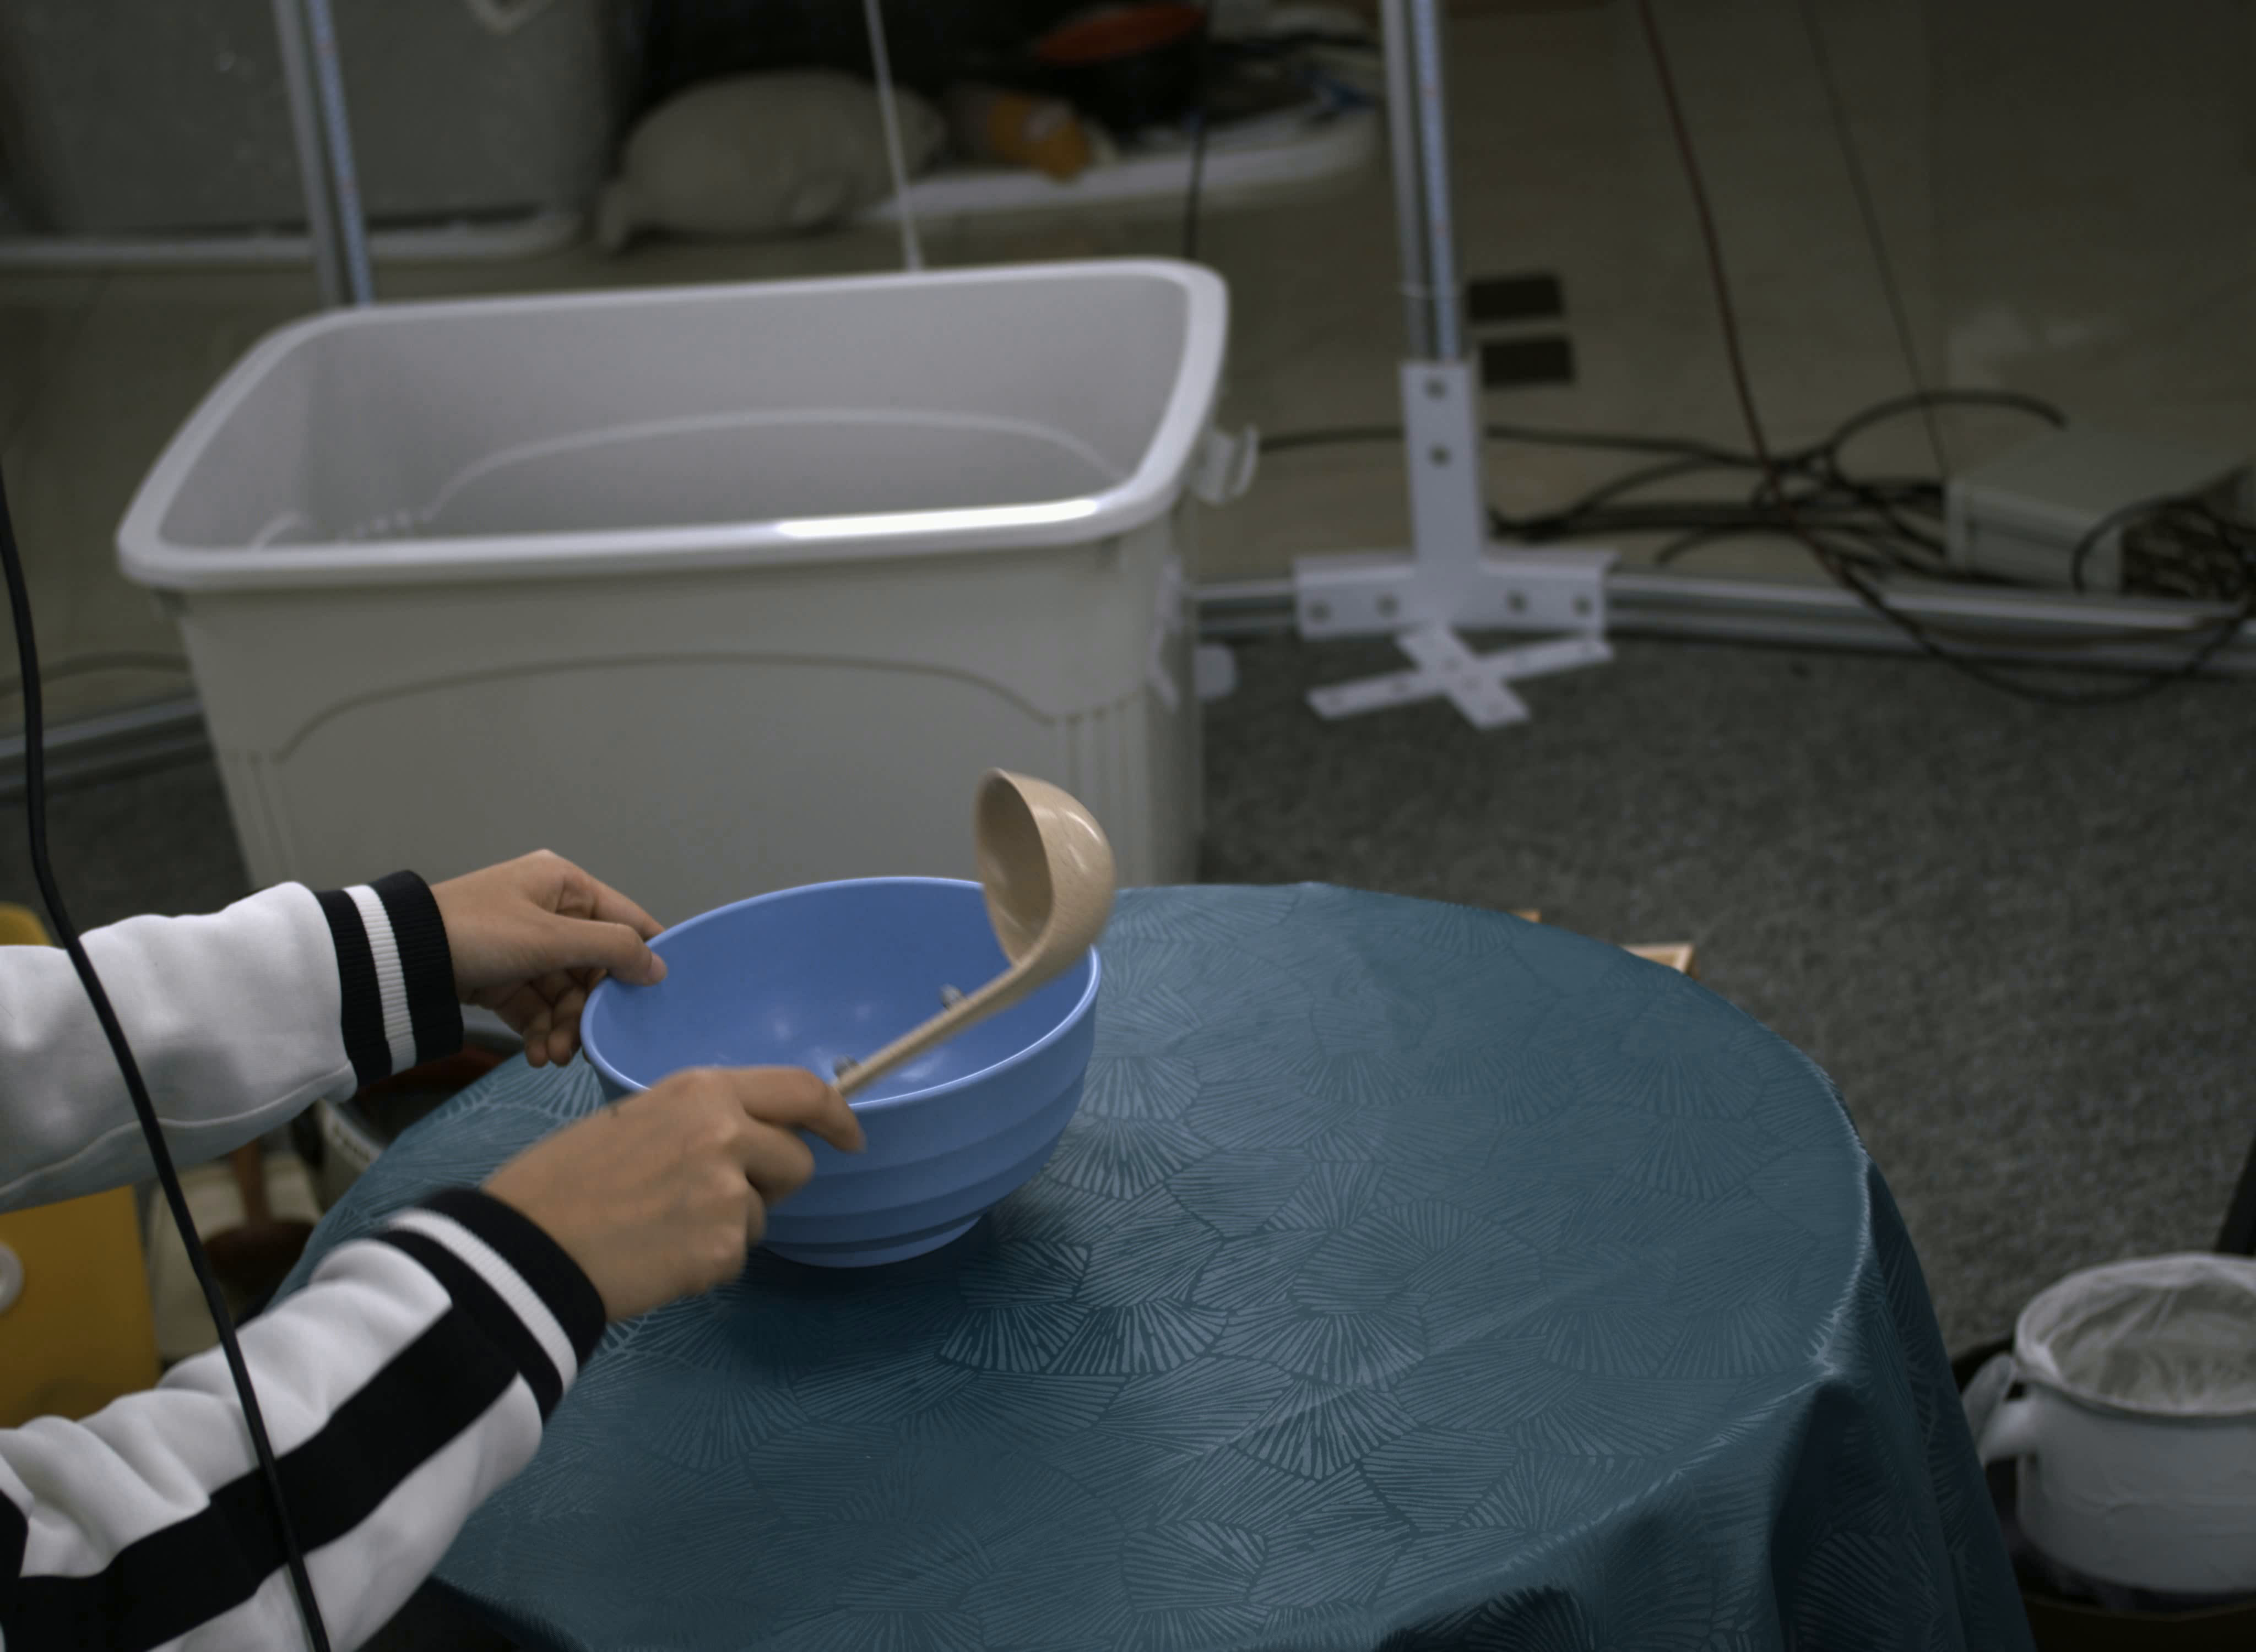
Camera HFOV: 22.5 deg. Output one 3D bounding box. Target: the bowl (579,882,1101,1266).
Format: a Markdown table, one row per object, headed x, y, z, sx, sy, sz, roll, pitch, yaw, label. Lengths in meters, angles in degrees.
| x | y | z | sx | sy | sz | roll | pitch | yaw | label |
| --- | --- | --- | --- | --- | --- | --- | --- | --- | --- |
| -0.104 | 0.103 | 2.136 | 0.196 | 0.097 | 0.194 | -4 | 24 | 2 | bowl |

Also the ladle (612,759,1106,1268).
| x | y | z | sx | sy | sz | roll | pitch | yaw | label |
| --- | --- | --- | --- | --- | --- | --- | --- | --- | --- |
| -0.106 | 0.060 | 1.909 | 0.072 | 0.073 | 0.252 | 44 | 53 | 16 | ladle |
